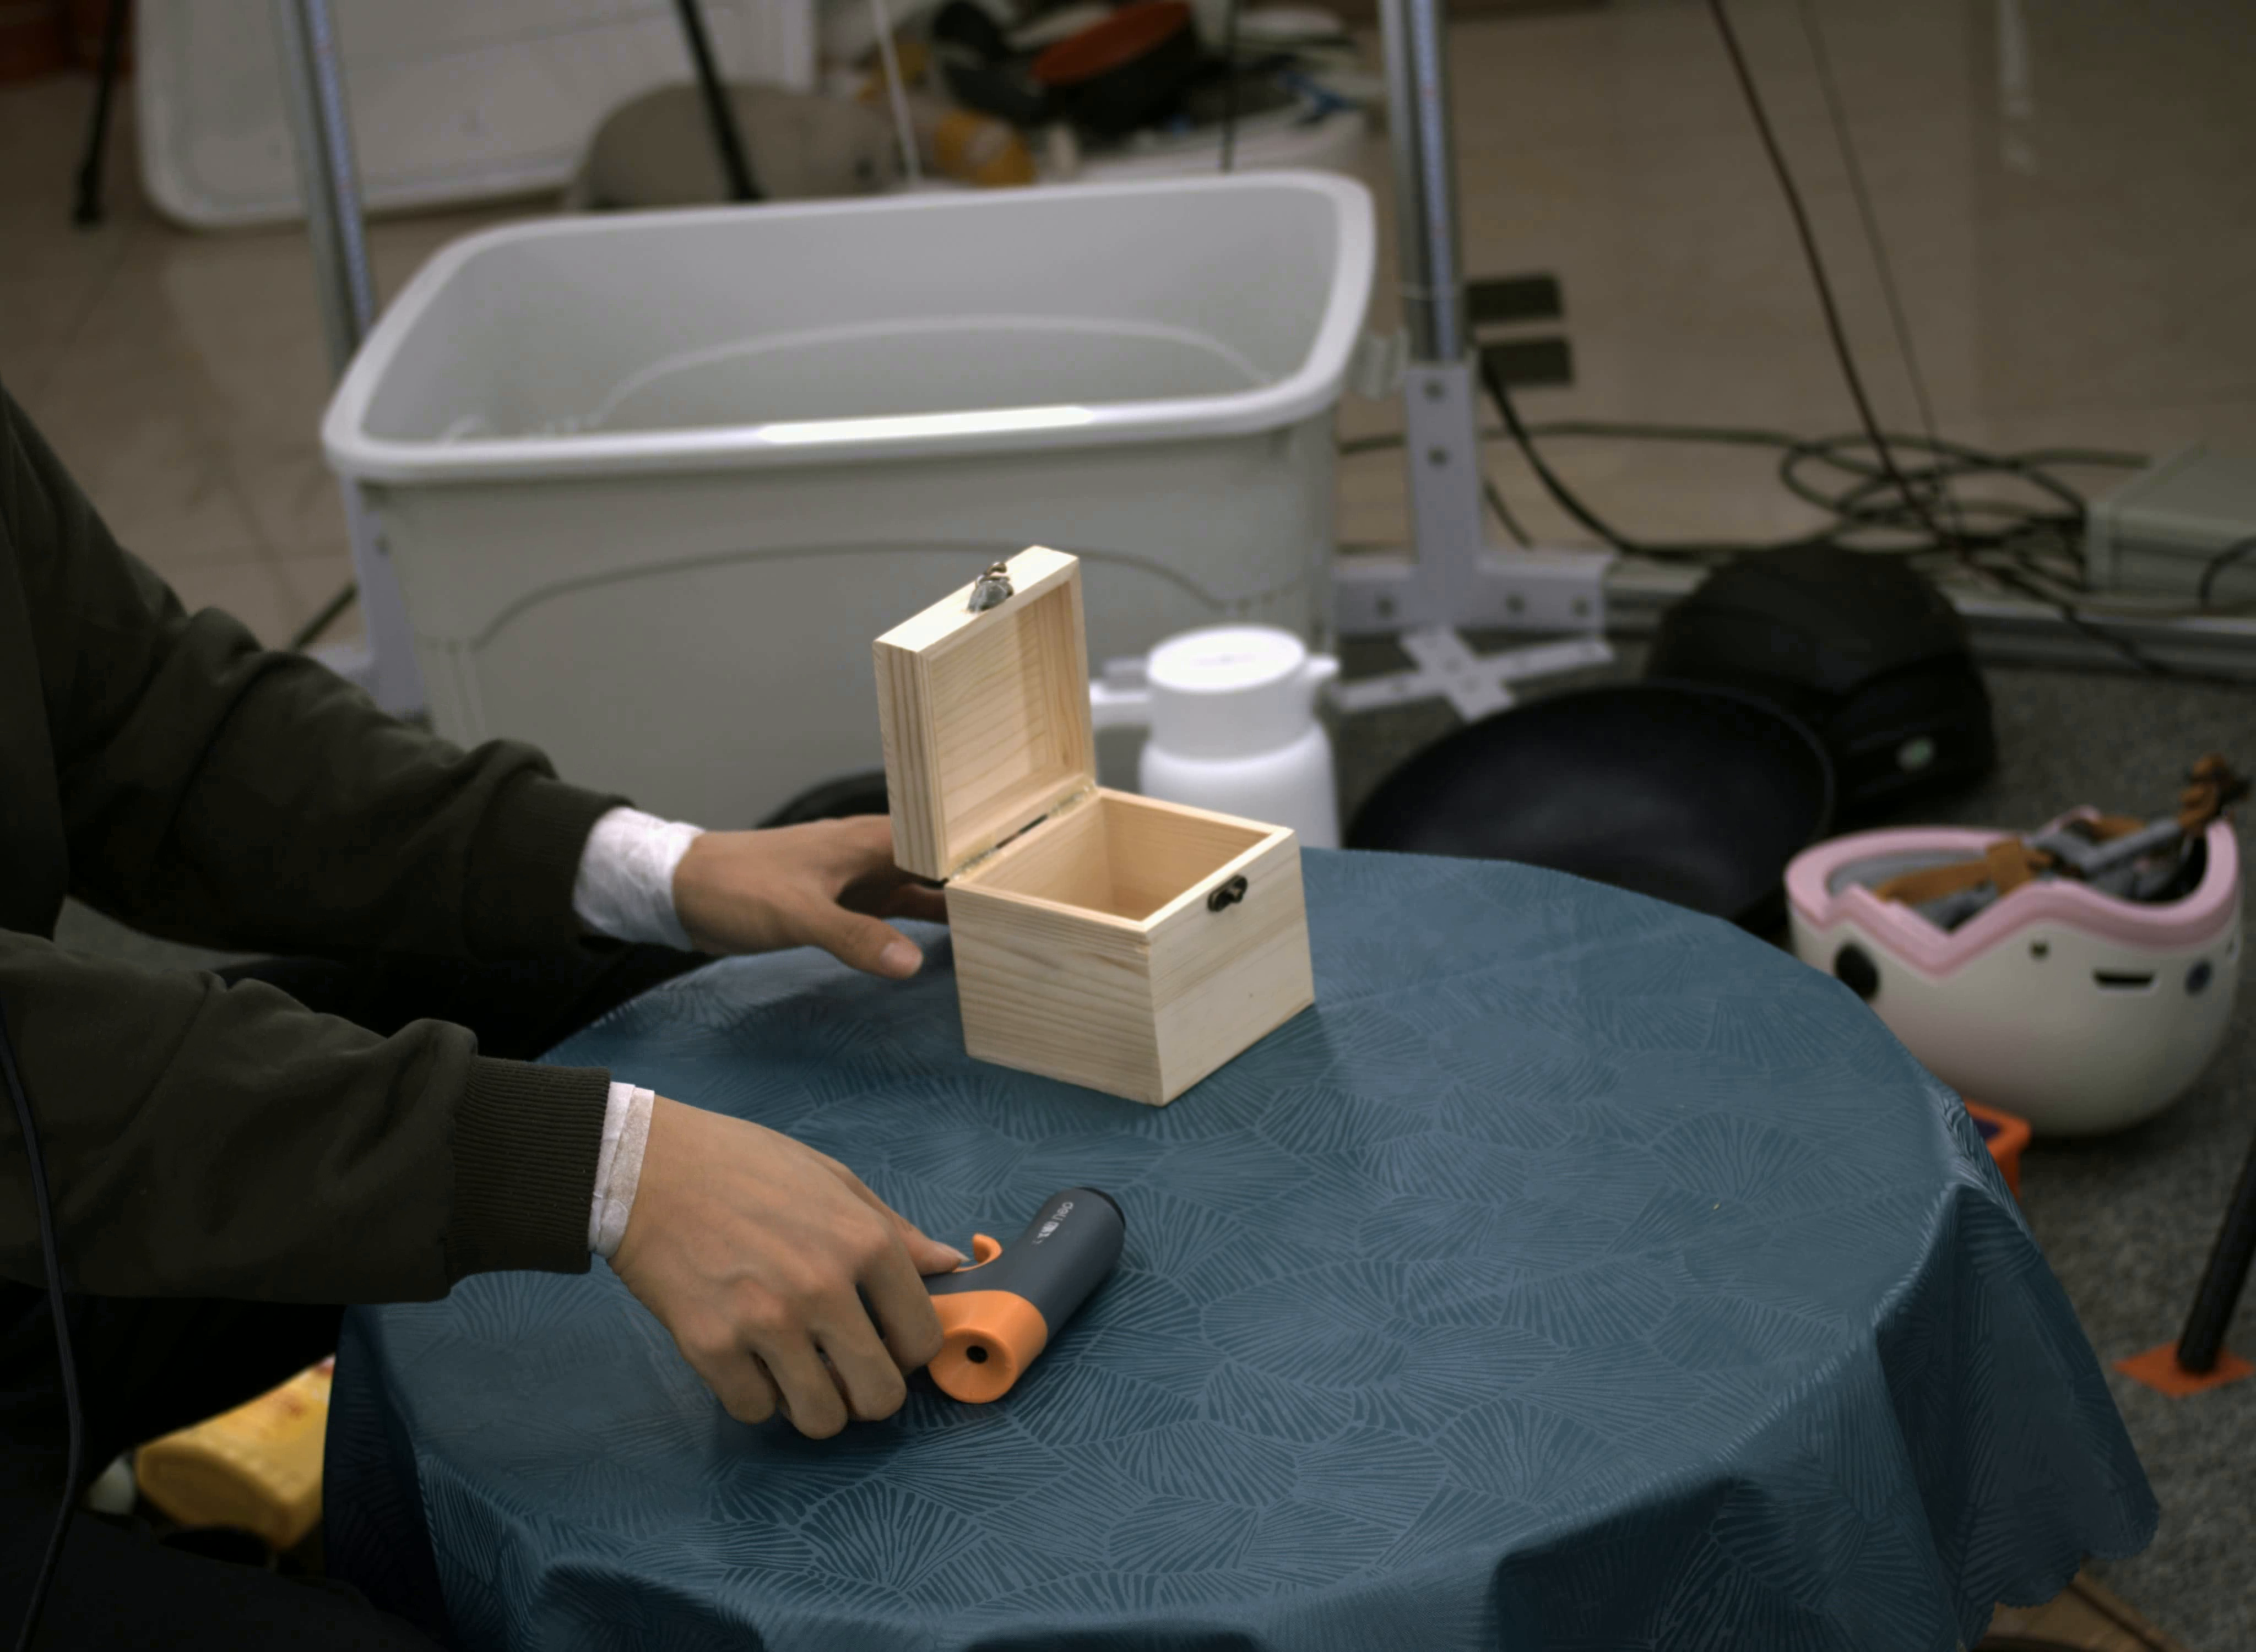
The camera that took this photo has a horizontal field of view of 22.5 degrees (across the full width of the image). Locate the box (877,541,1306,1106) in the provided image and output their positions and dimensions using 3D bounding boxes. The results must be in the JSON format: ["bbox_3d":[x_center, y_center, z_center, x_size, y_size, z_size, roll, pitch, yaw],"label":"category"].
[{"bbox_3d":[-0.012,-0.003,2.232,0.133,0.187,0.101,14,32,33],"label":"box"}]

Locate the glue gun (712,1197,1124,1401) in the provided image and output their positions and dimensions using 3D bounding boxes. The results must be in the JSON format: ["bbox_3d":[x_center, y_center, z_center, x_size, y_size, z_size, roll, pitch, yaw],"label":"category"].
[{"bbox_3d":[-0.075,0.168,2.068,0.139,0.041,0.116,0,23,8],"label":"glue gun"}]
